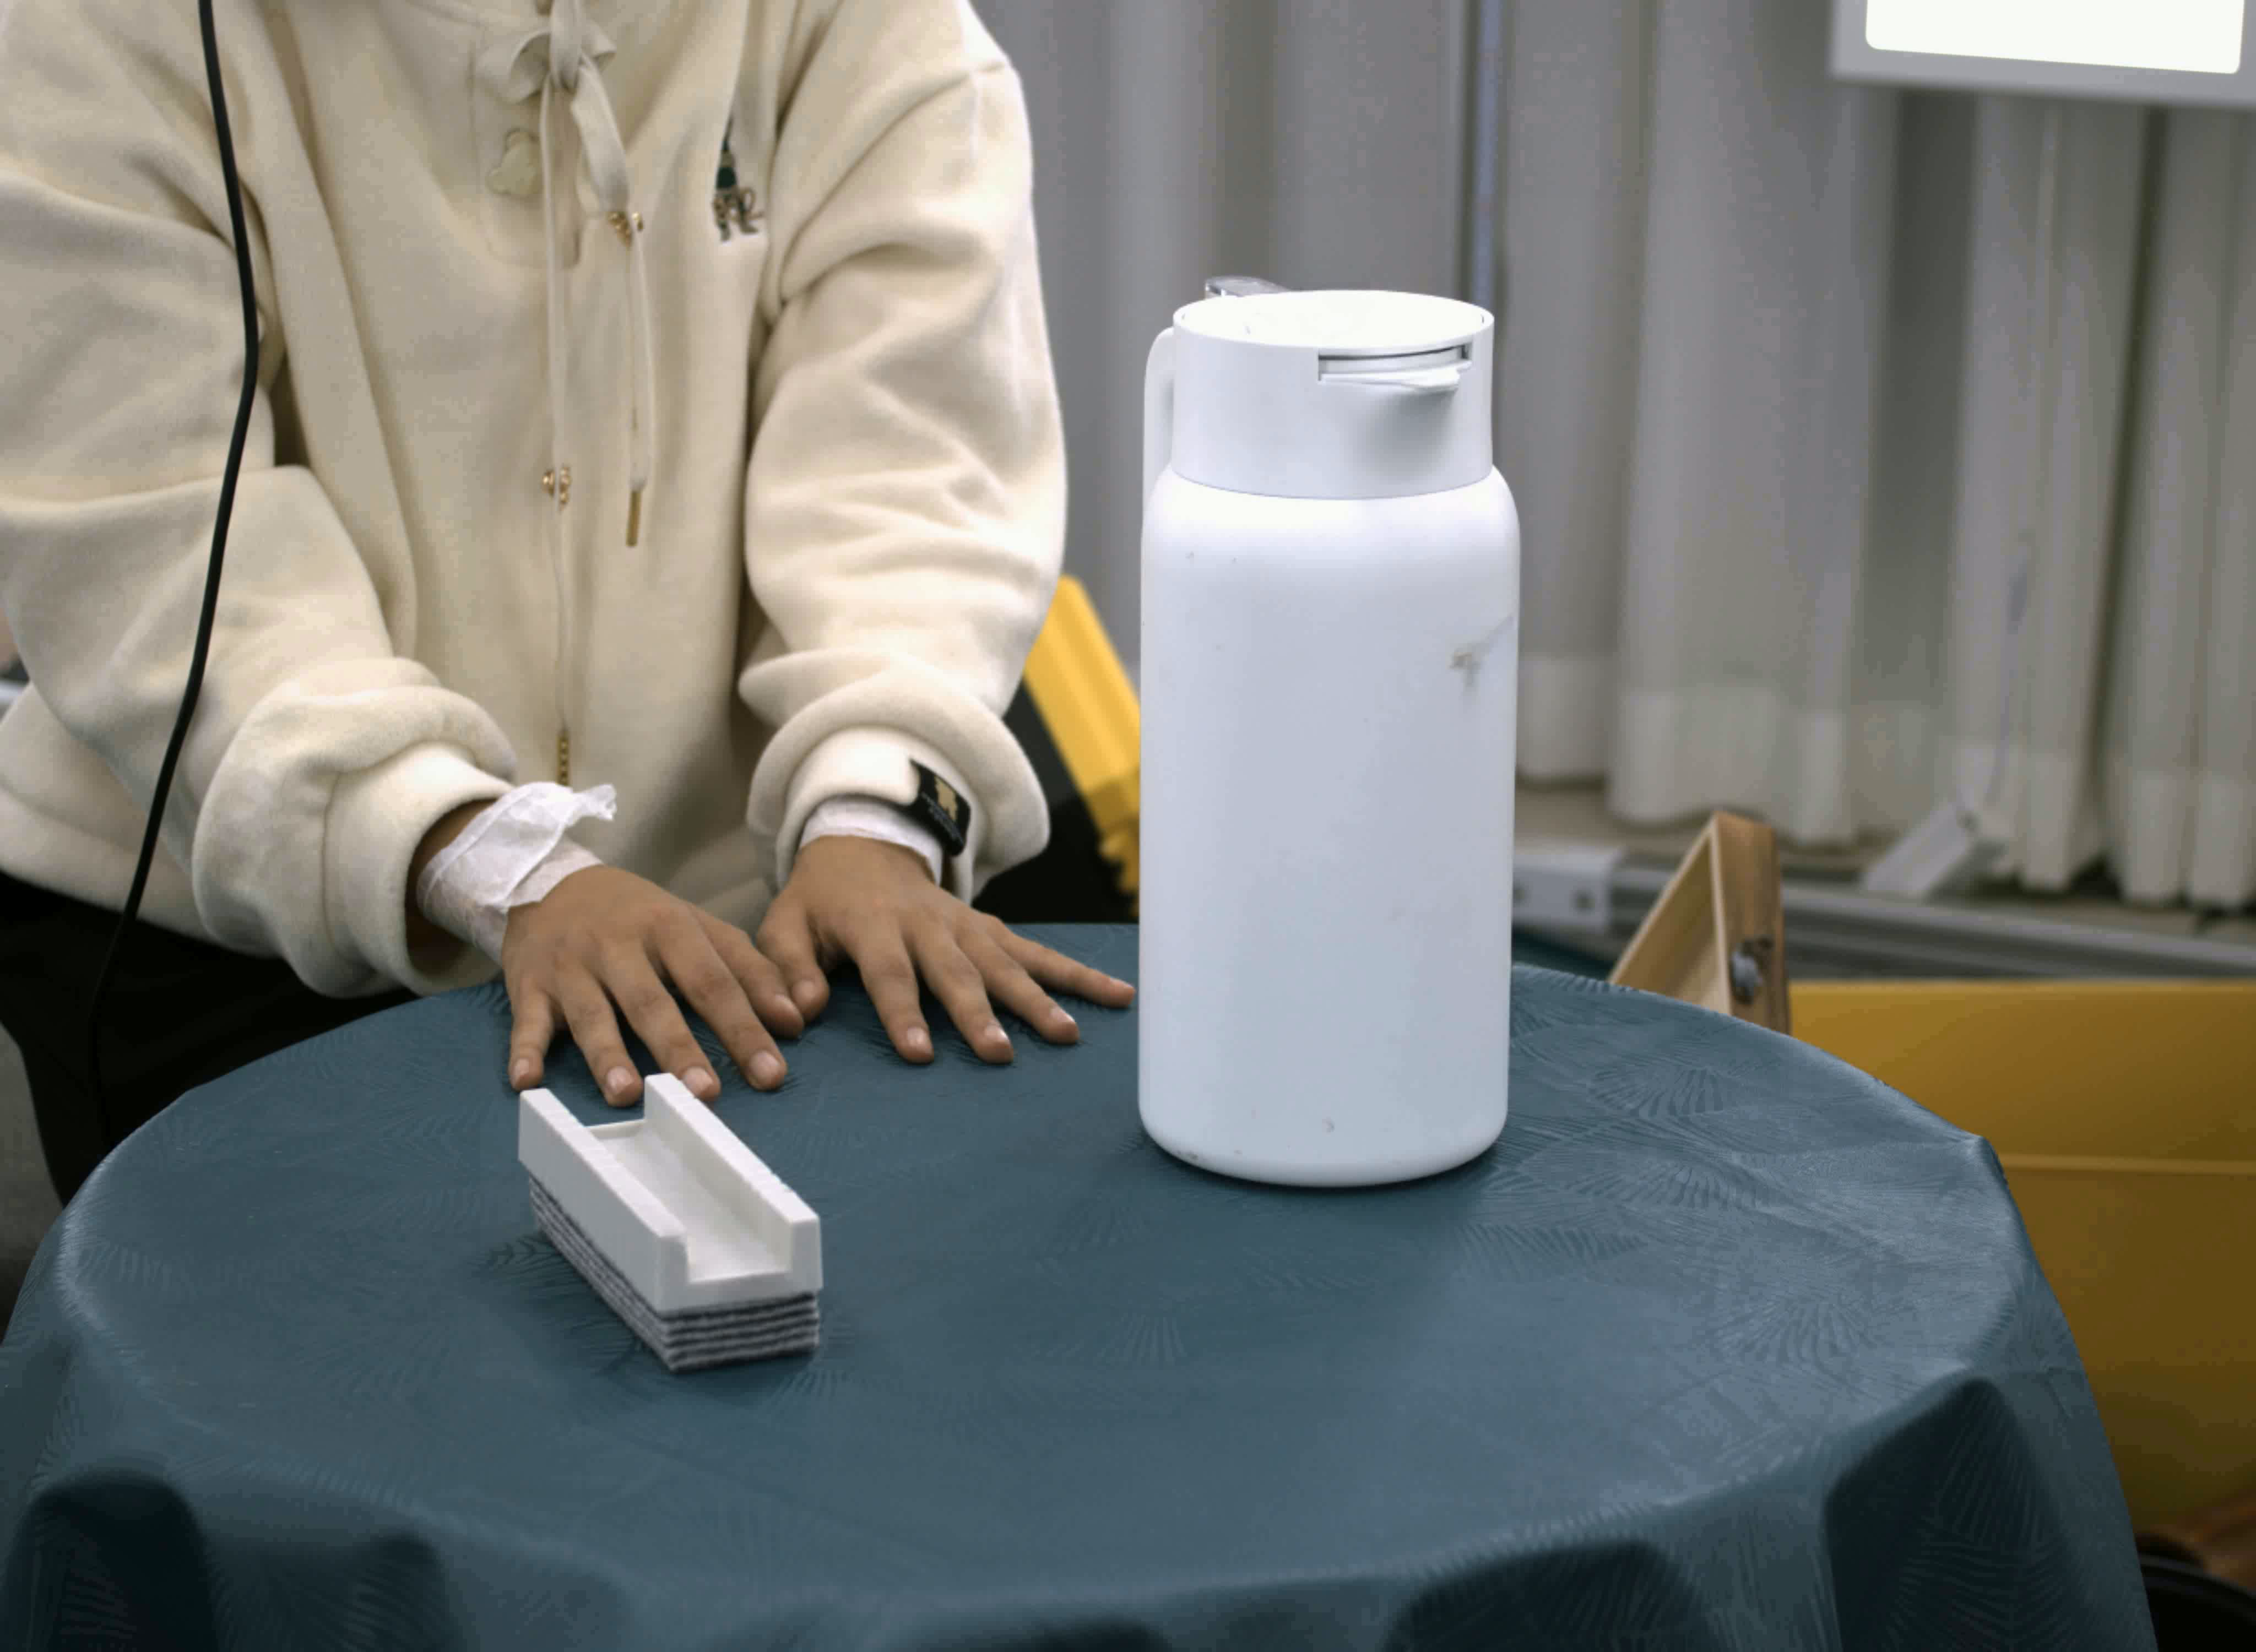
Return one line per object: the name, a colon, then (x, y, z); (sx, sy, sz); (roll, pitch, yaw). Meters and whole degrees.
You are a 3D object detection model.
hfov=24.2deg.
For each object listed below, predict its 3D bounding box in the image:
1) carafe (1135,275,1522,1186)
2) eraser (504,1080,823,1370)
carafe: (0.053, -0.034, 1.649); (0.124, 0.271, 0.170); (-10, 19, -24)
eraser: (-0.136, 0.114, 1.524); (0.050, 0.047, 0.132); (-11, 19, -24)
